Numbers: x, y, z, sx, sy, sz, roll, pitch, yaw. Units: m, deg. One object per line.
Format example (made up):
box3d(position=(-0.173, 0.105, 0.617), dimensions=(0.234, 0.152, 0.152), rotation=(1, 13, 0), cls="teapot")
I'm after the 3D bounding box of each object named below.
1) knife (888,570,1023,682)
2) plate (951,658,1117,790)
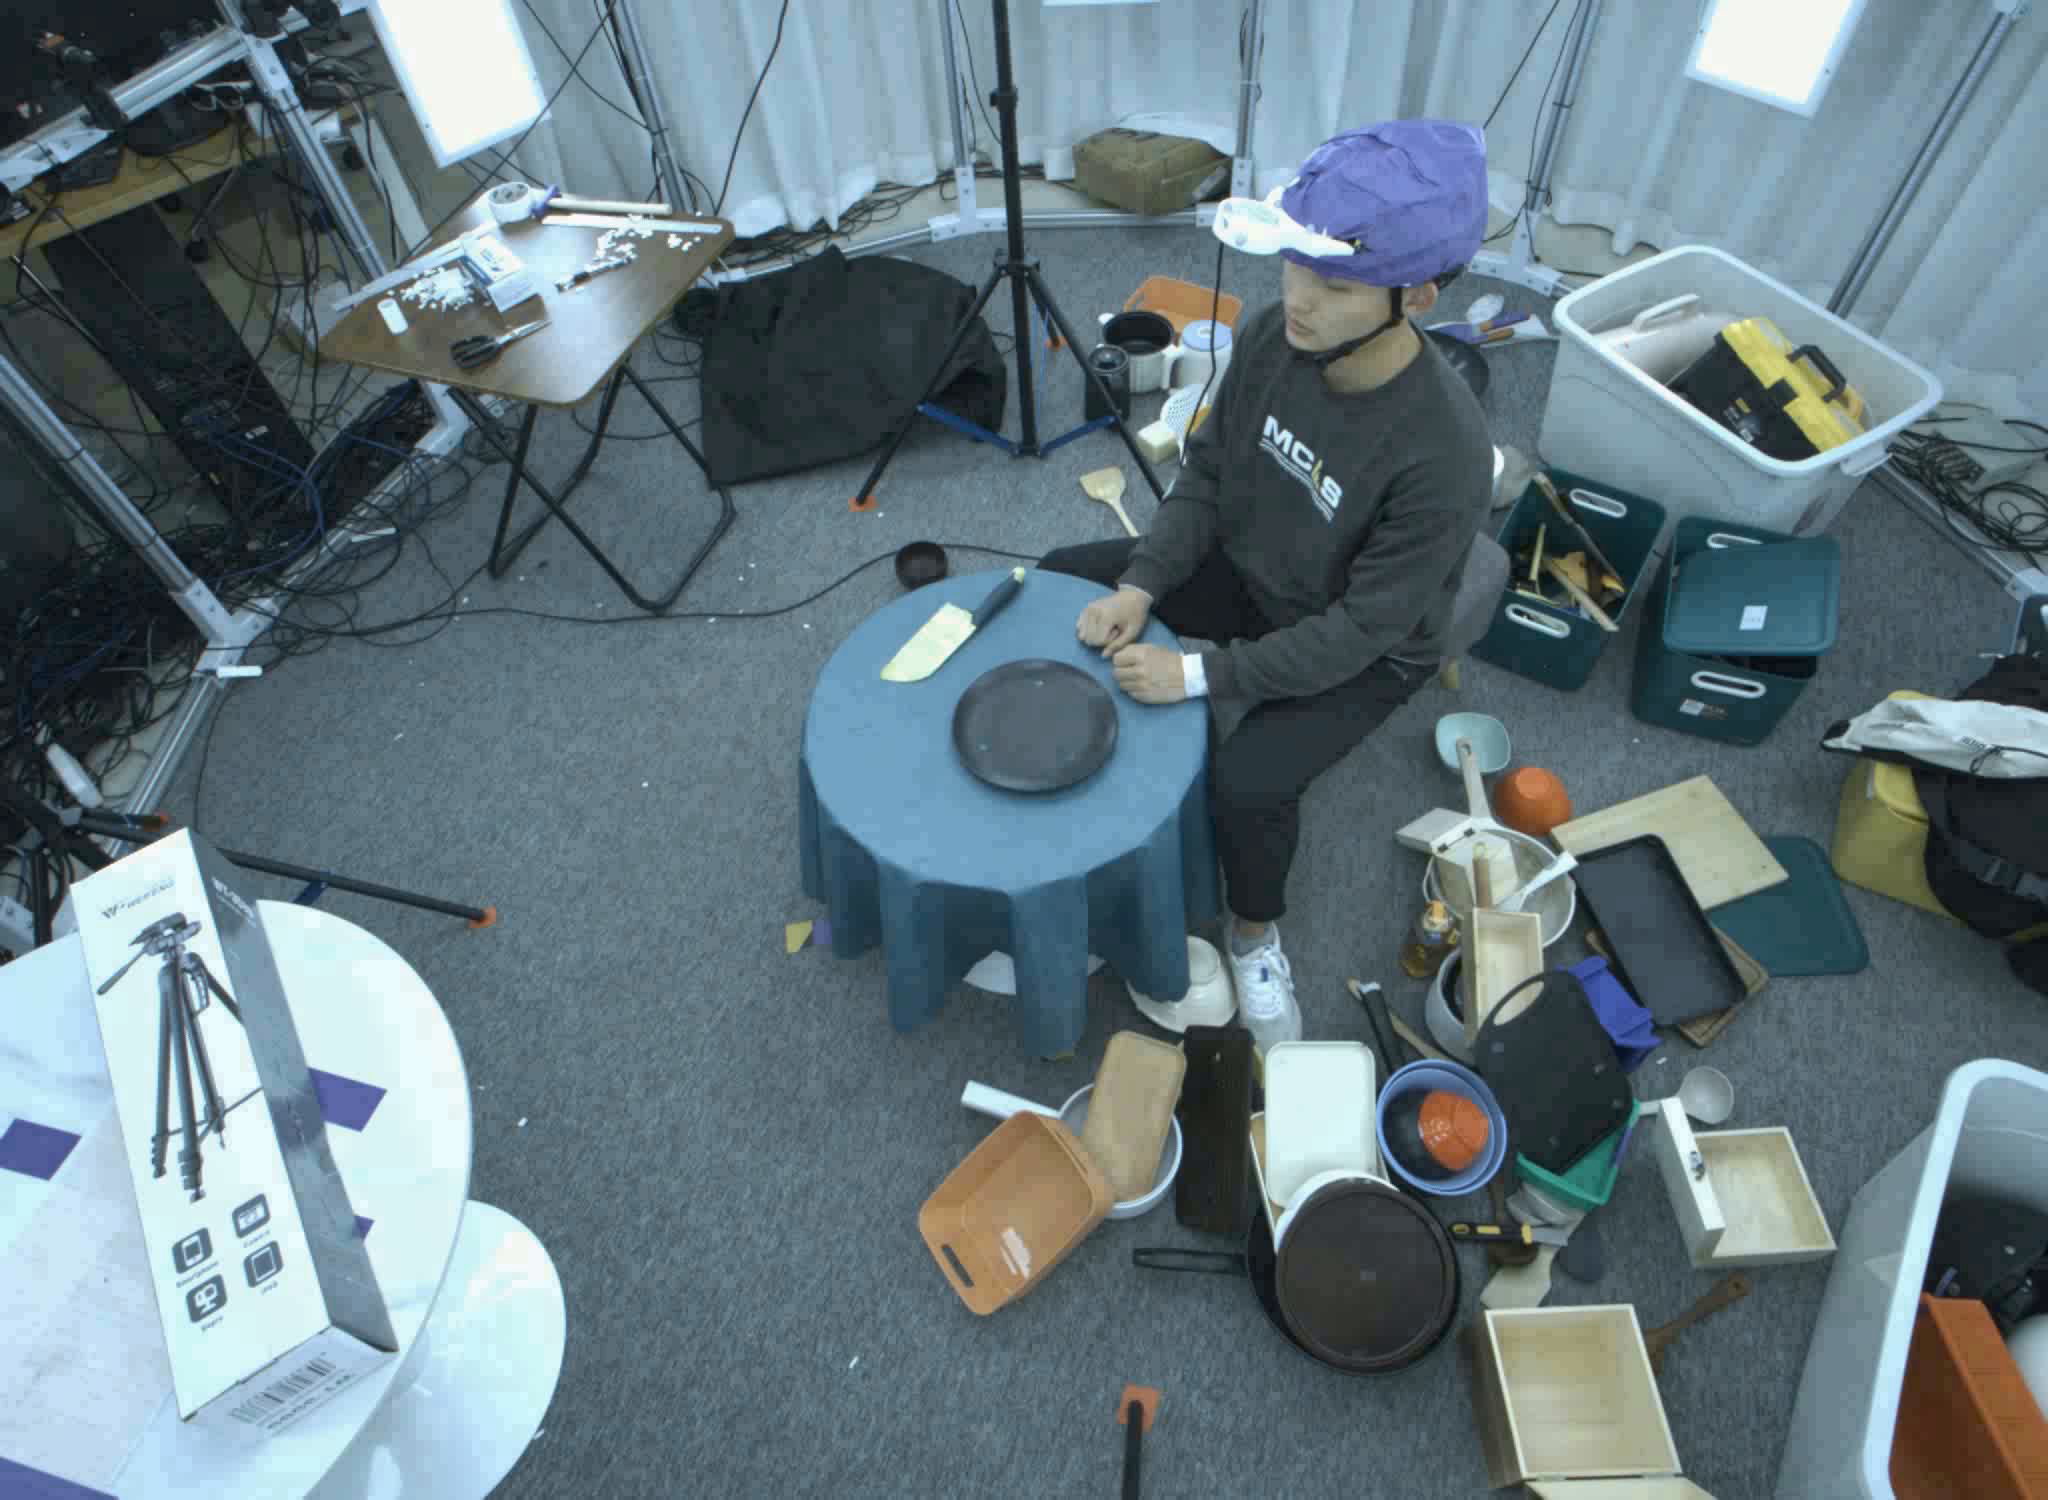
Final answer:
box3d(position=(-0.108, -0.199, 1.931), dimensions=(0.080, 0.027, 0.291), rotation=(35, 63, 22), cls="knife")
box3d(position=(0.014, -0.036, 1.806), dimensions=(0.244, 0.023, 0.242), rotation=(0, 54, 1), cls="plate")
